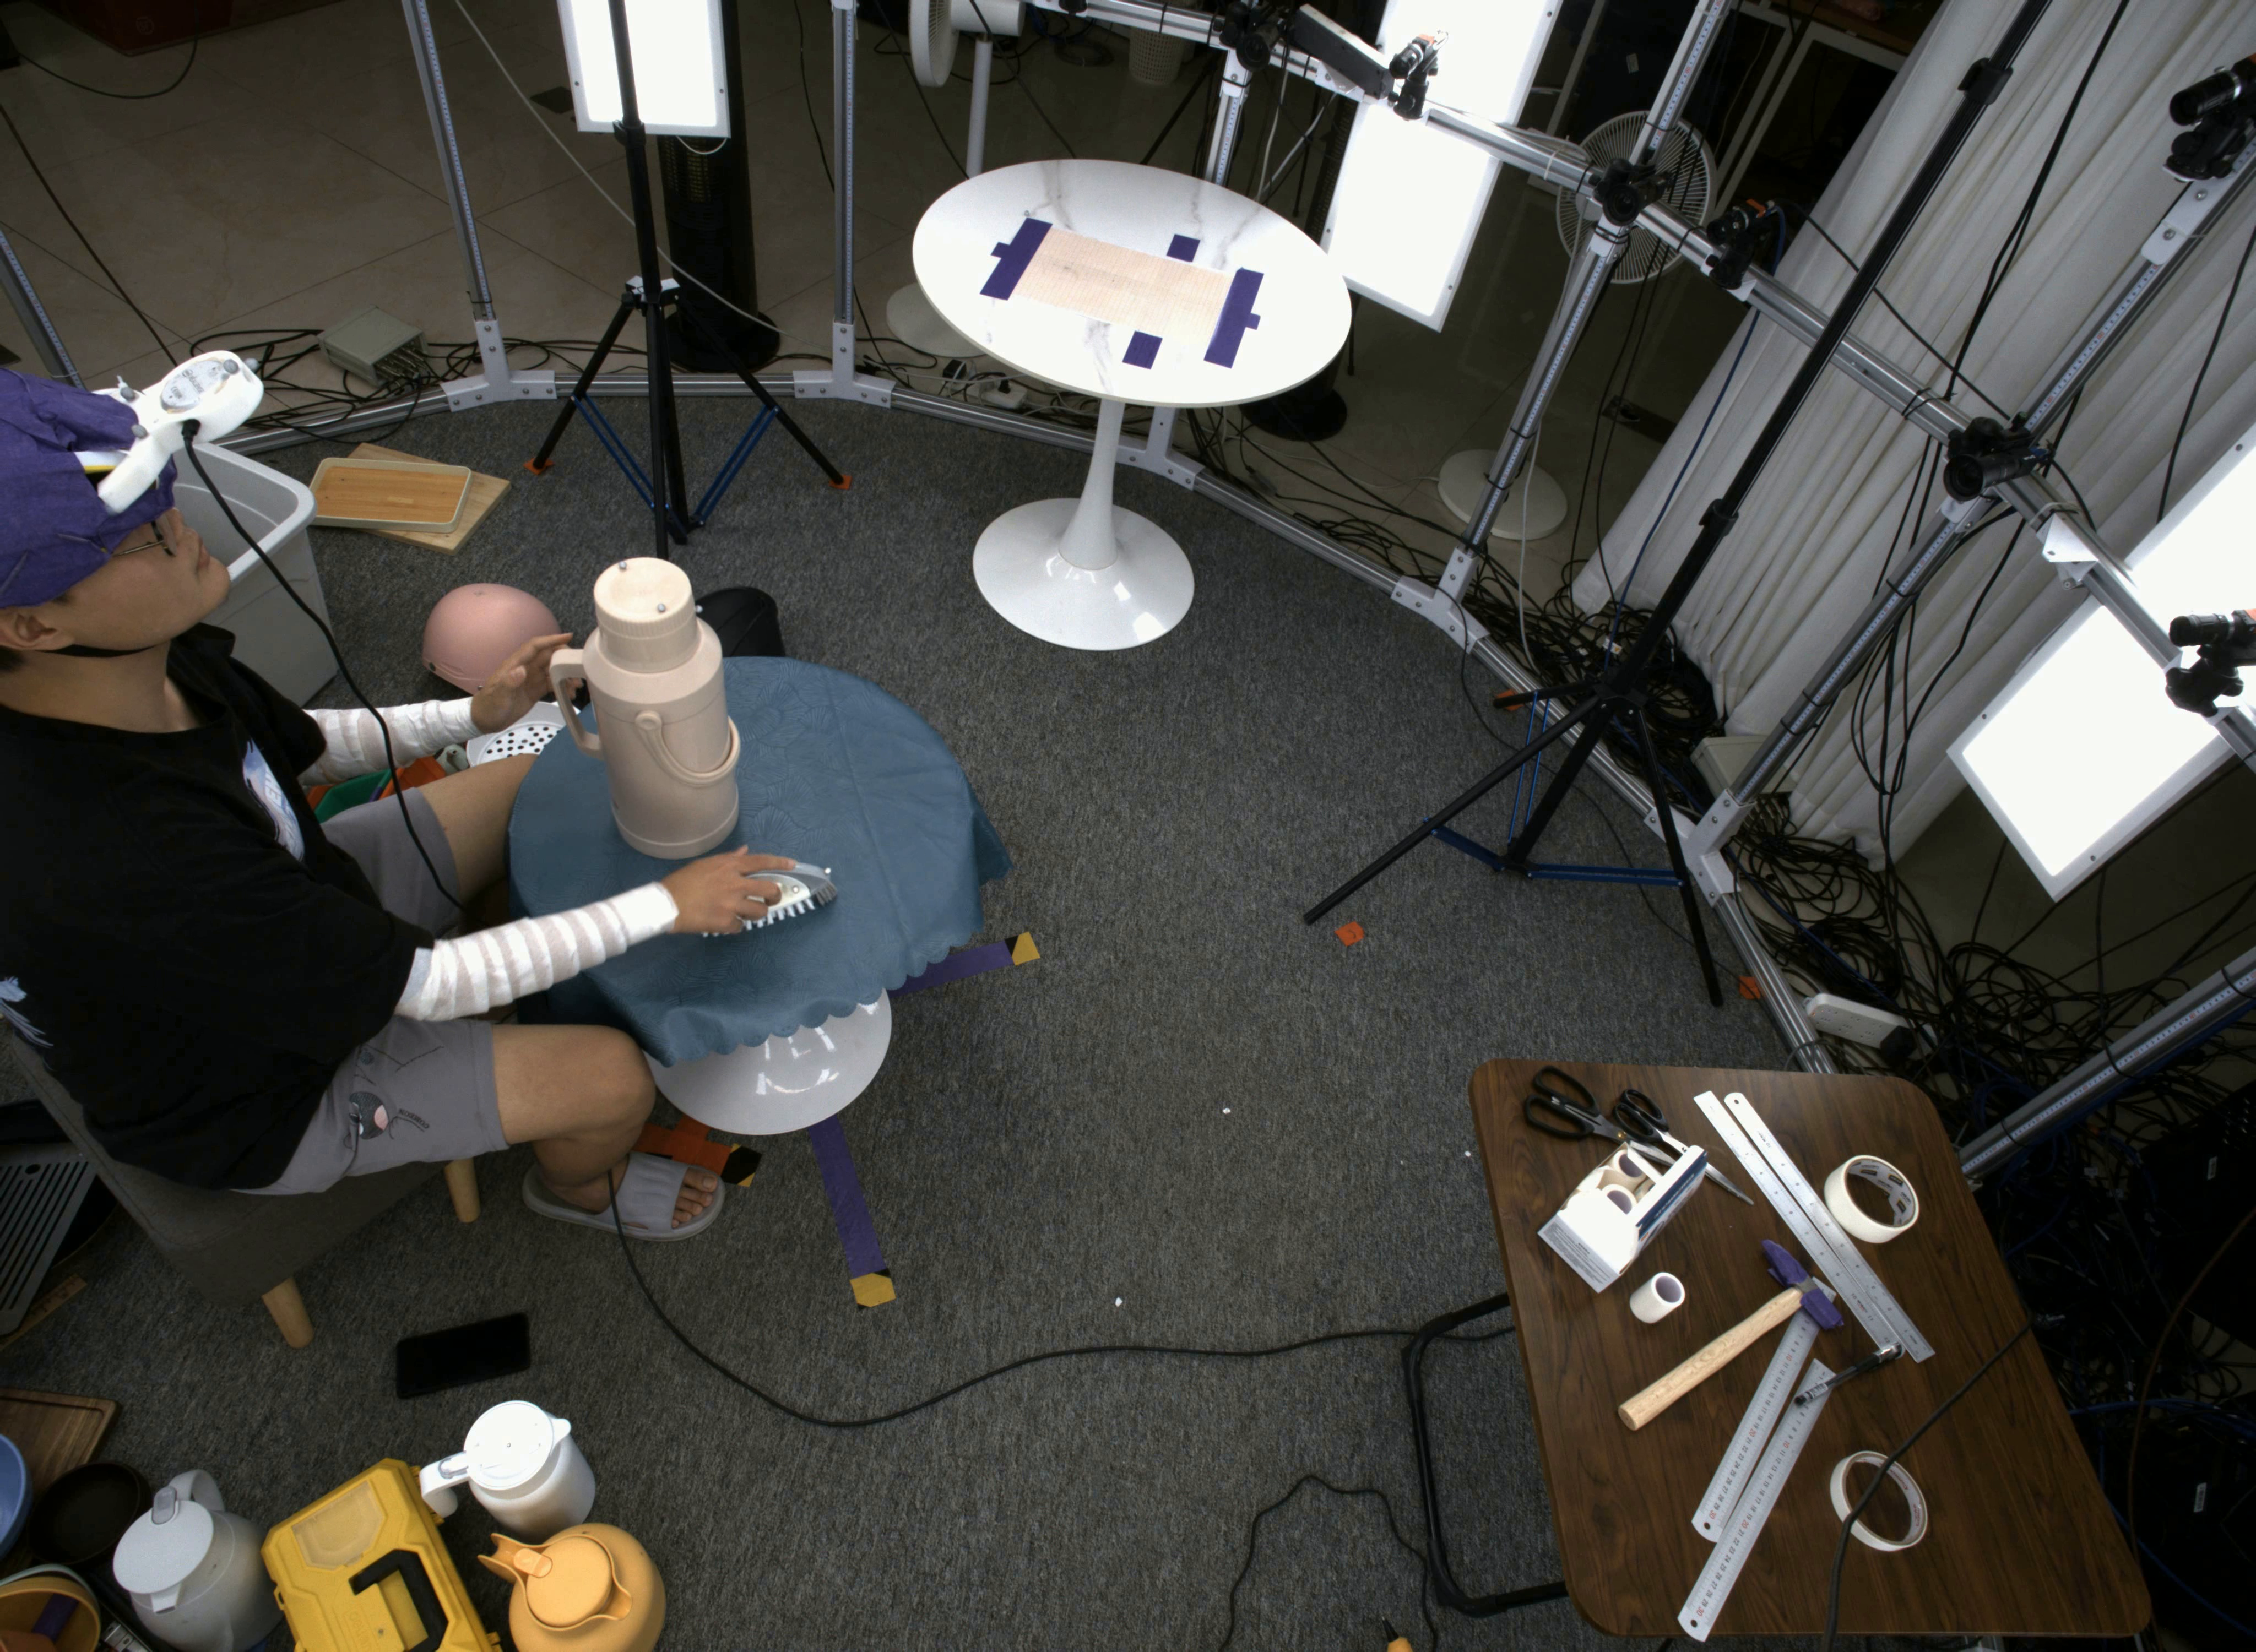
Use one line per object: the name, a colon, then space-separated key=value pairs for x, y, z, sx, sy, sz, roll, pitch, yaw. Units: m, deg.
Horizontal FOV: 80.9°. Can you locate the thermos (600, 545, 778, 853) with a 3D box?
thermos: x=-0.535 y=-0.153 z=1.564 sx=0.207 sy=0.415 sz=0.172 roll=0 pitch=54 yaw=-11

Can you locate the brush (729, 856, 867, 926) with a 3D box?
brush: x=-0.413 y=0.068 z=1.627 sx=0.176 sy=0.096 sz=0.060 roll=-8 pitch=57 yaw=-21
